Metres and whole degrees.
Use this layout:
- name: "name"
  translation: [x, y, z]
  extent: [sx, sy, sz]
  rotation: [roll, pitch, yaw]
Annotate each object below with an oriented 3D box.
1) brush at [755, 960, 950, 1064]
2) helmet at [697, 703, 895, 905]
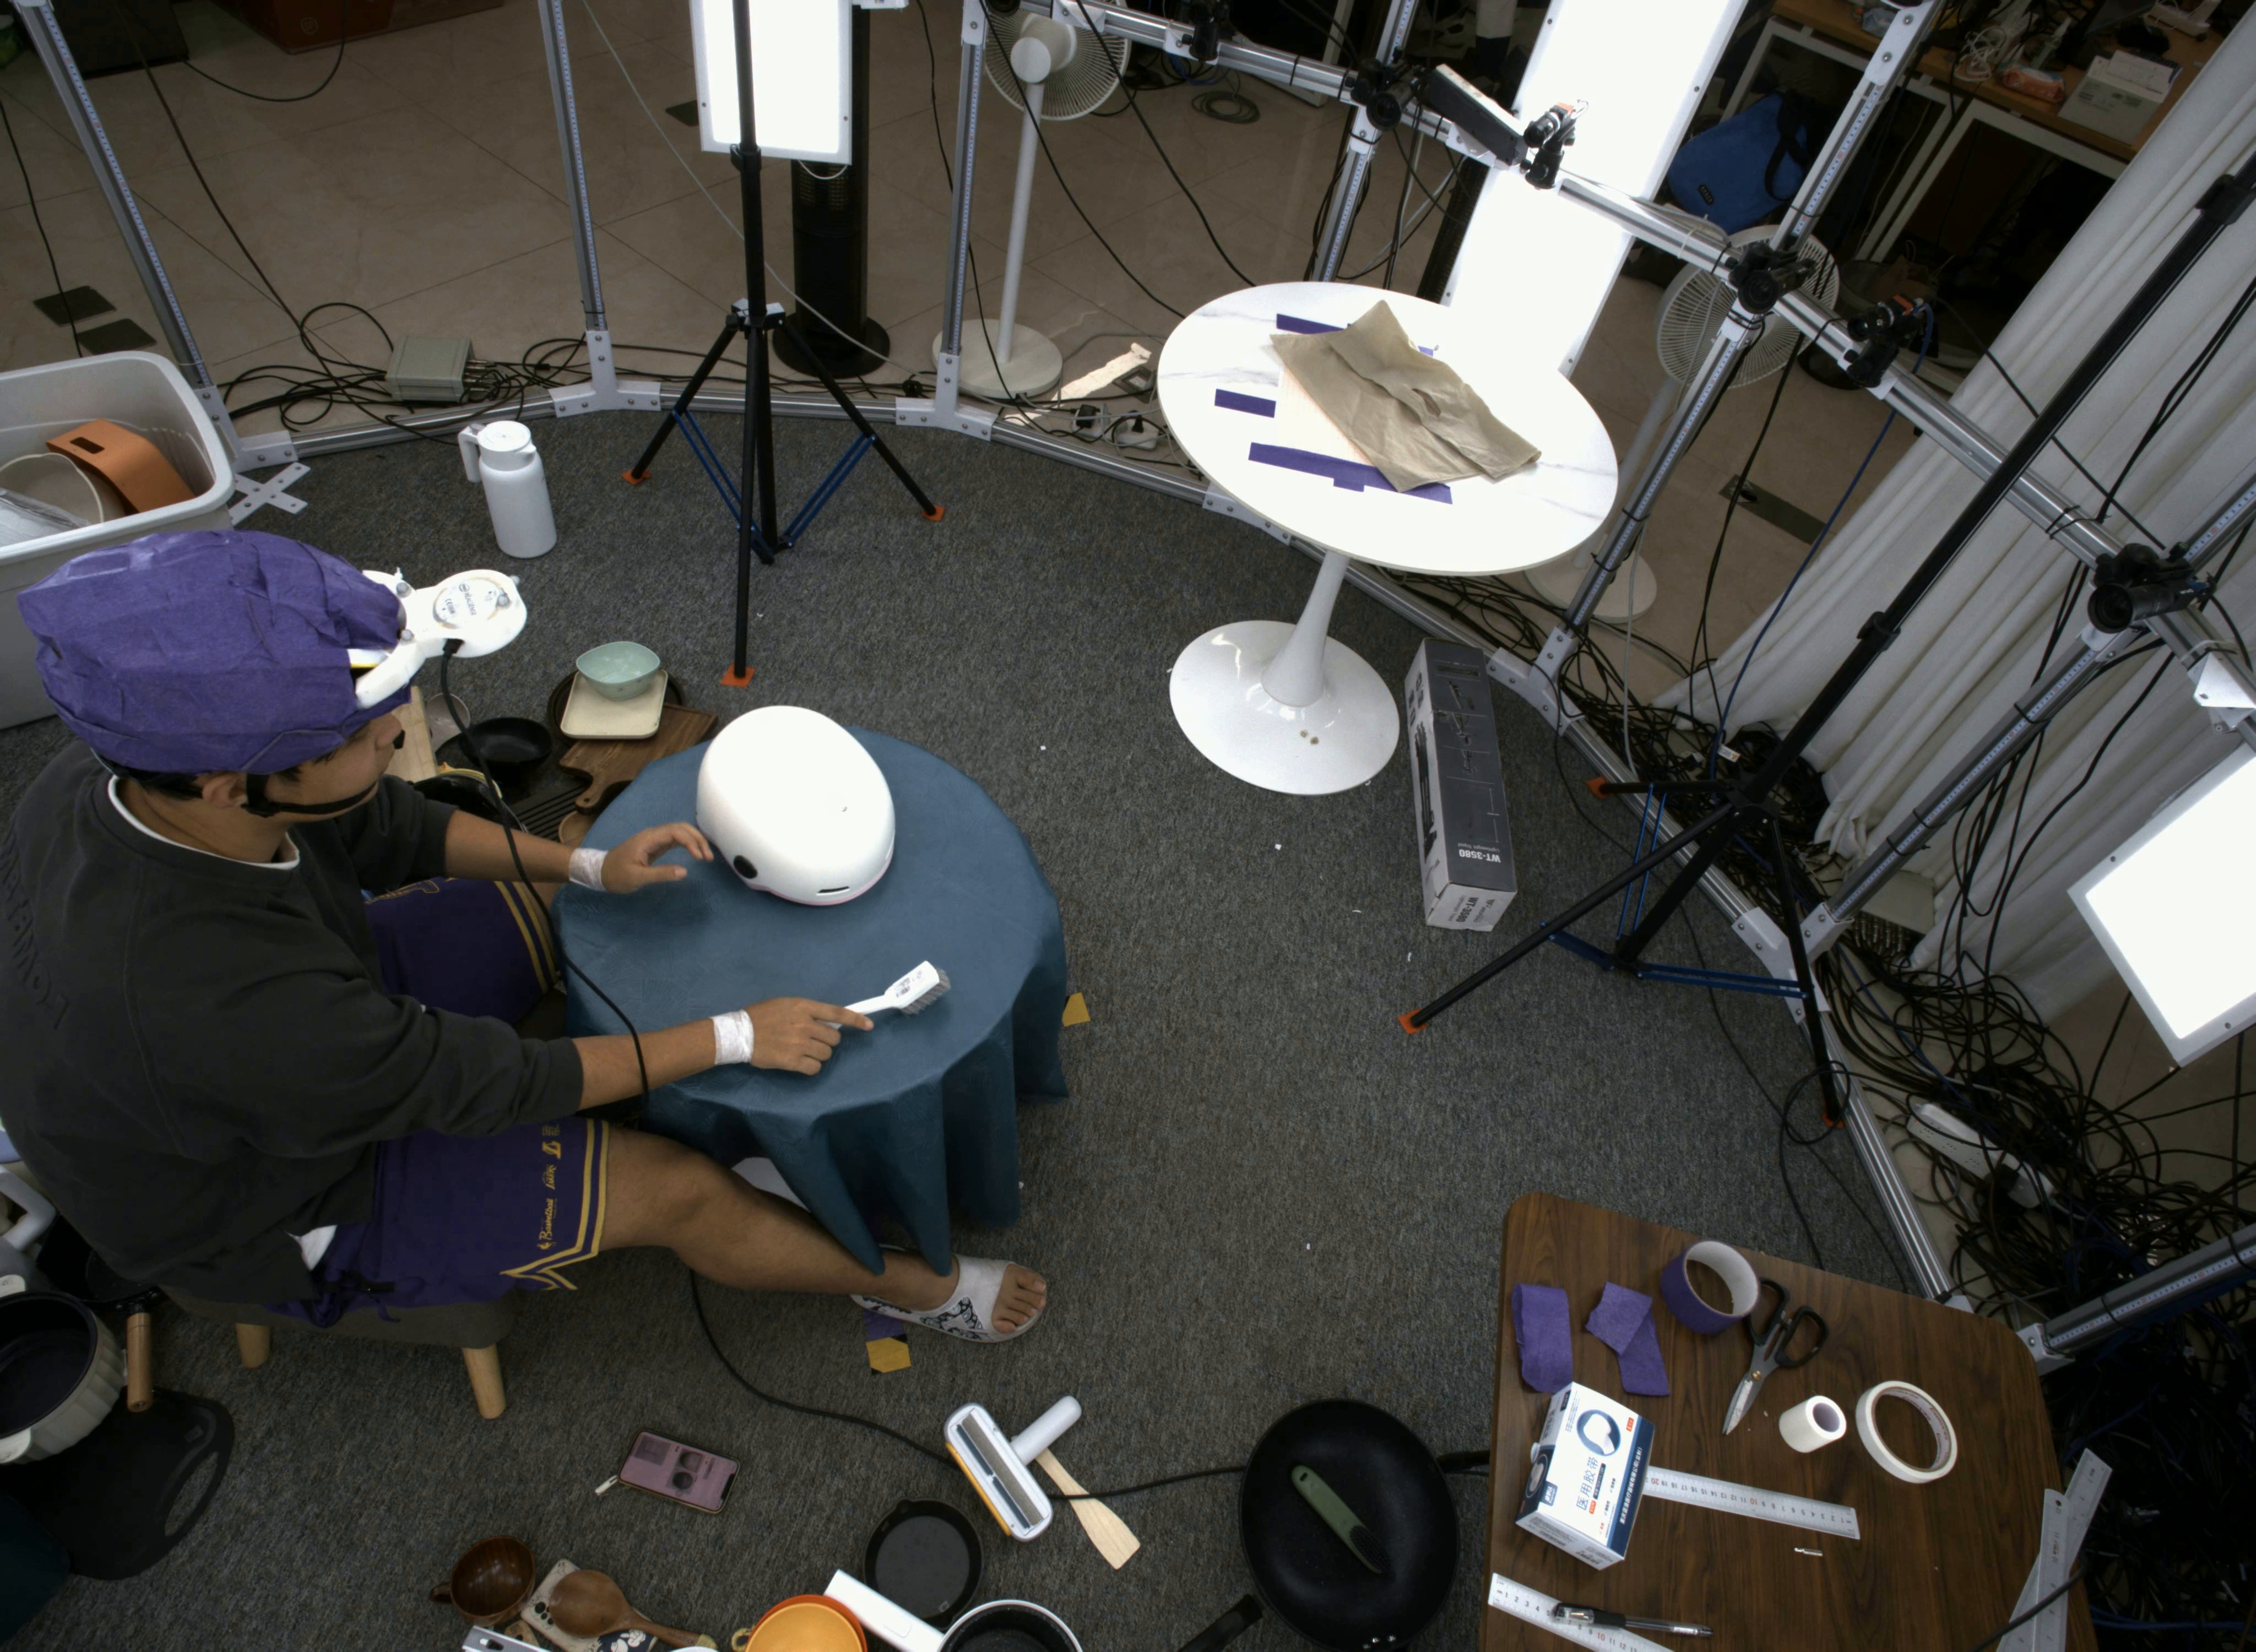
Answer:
- name: "brush"
  translation: [-0.329, 0.231, 1.563]
  extent: [0.243, 0.052, 0.033]
  rotation: [-27, 49, -14]
- name: "helmet"
  translation: [-0.424, -0.047, 1.659]
  extent: [0.263, 0.170, 0.237]
  rotation: [37, 54, 15]
